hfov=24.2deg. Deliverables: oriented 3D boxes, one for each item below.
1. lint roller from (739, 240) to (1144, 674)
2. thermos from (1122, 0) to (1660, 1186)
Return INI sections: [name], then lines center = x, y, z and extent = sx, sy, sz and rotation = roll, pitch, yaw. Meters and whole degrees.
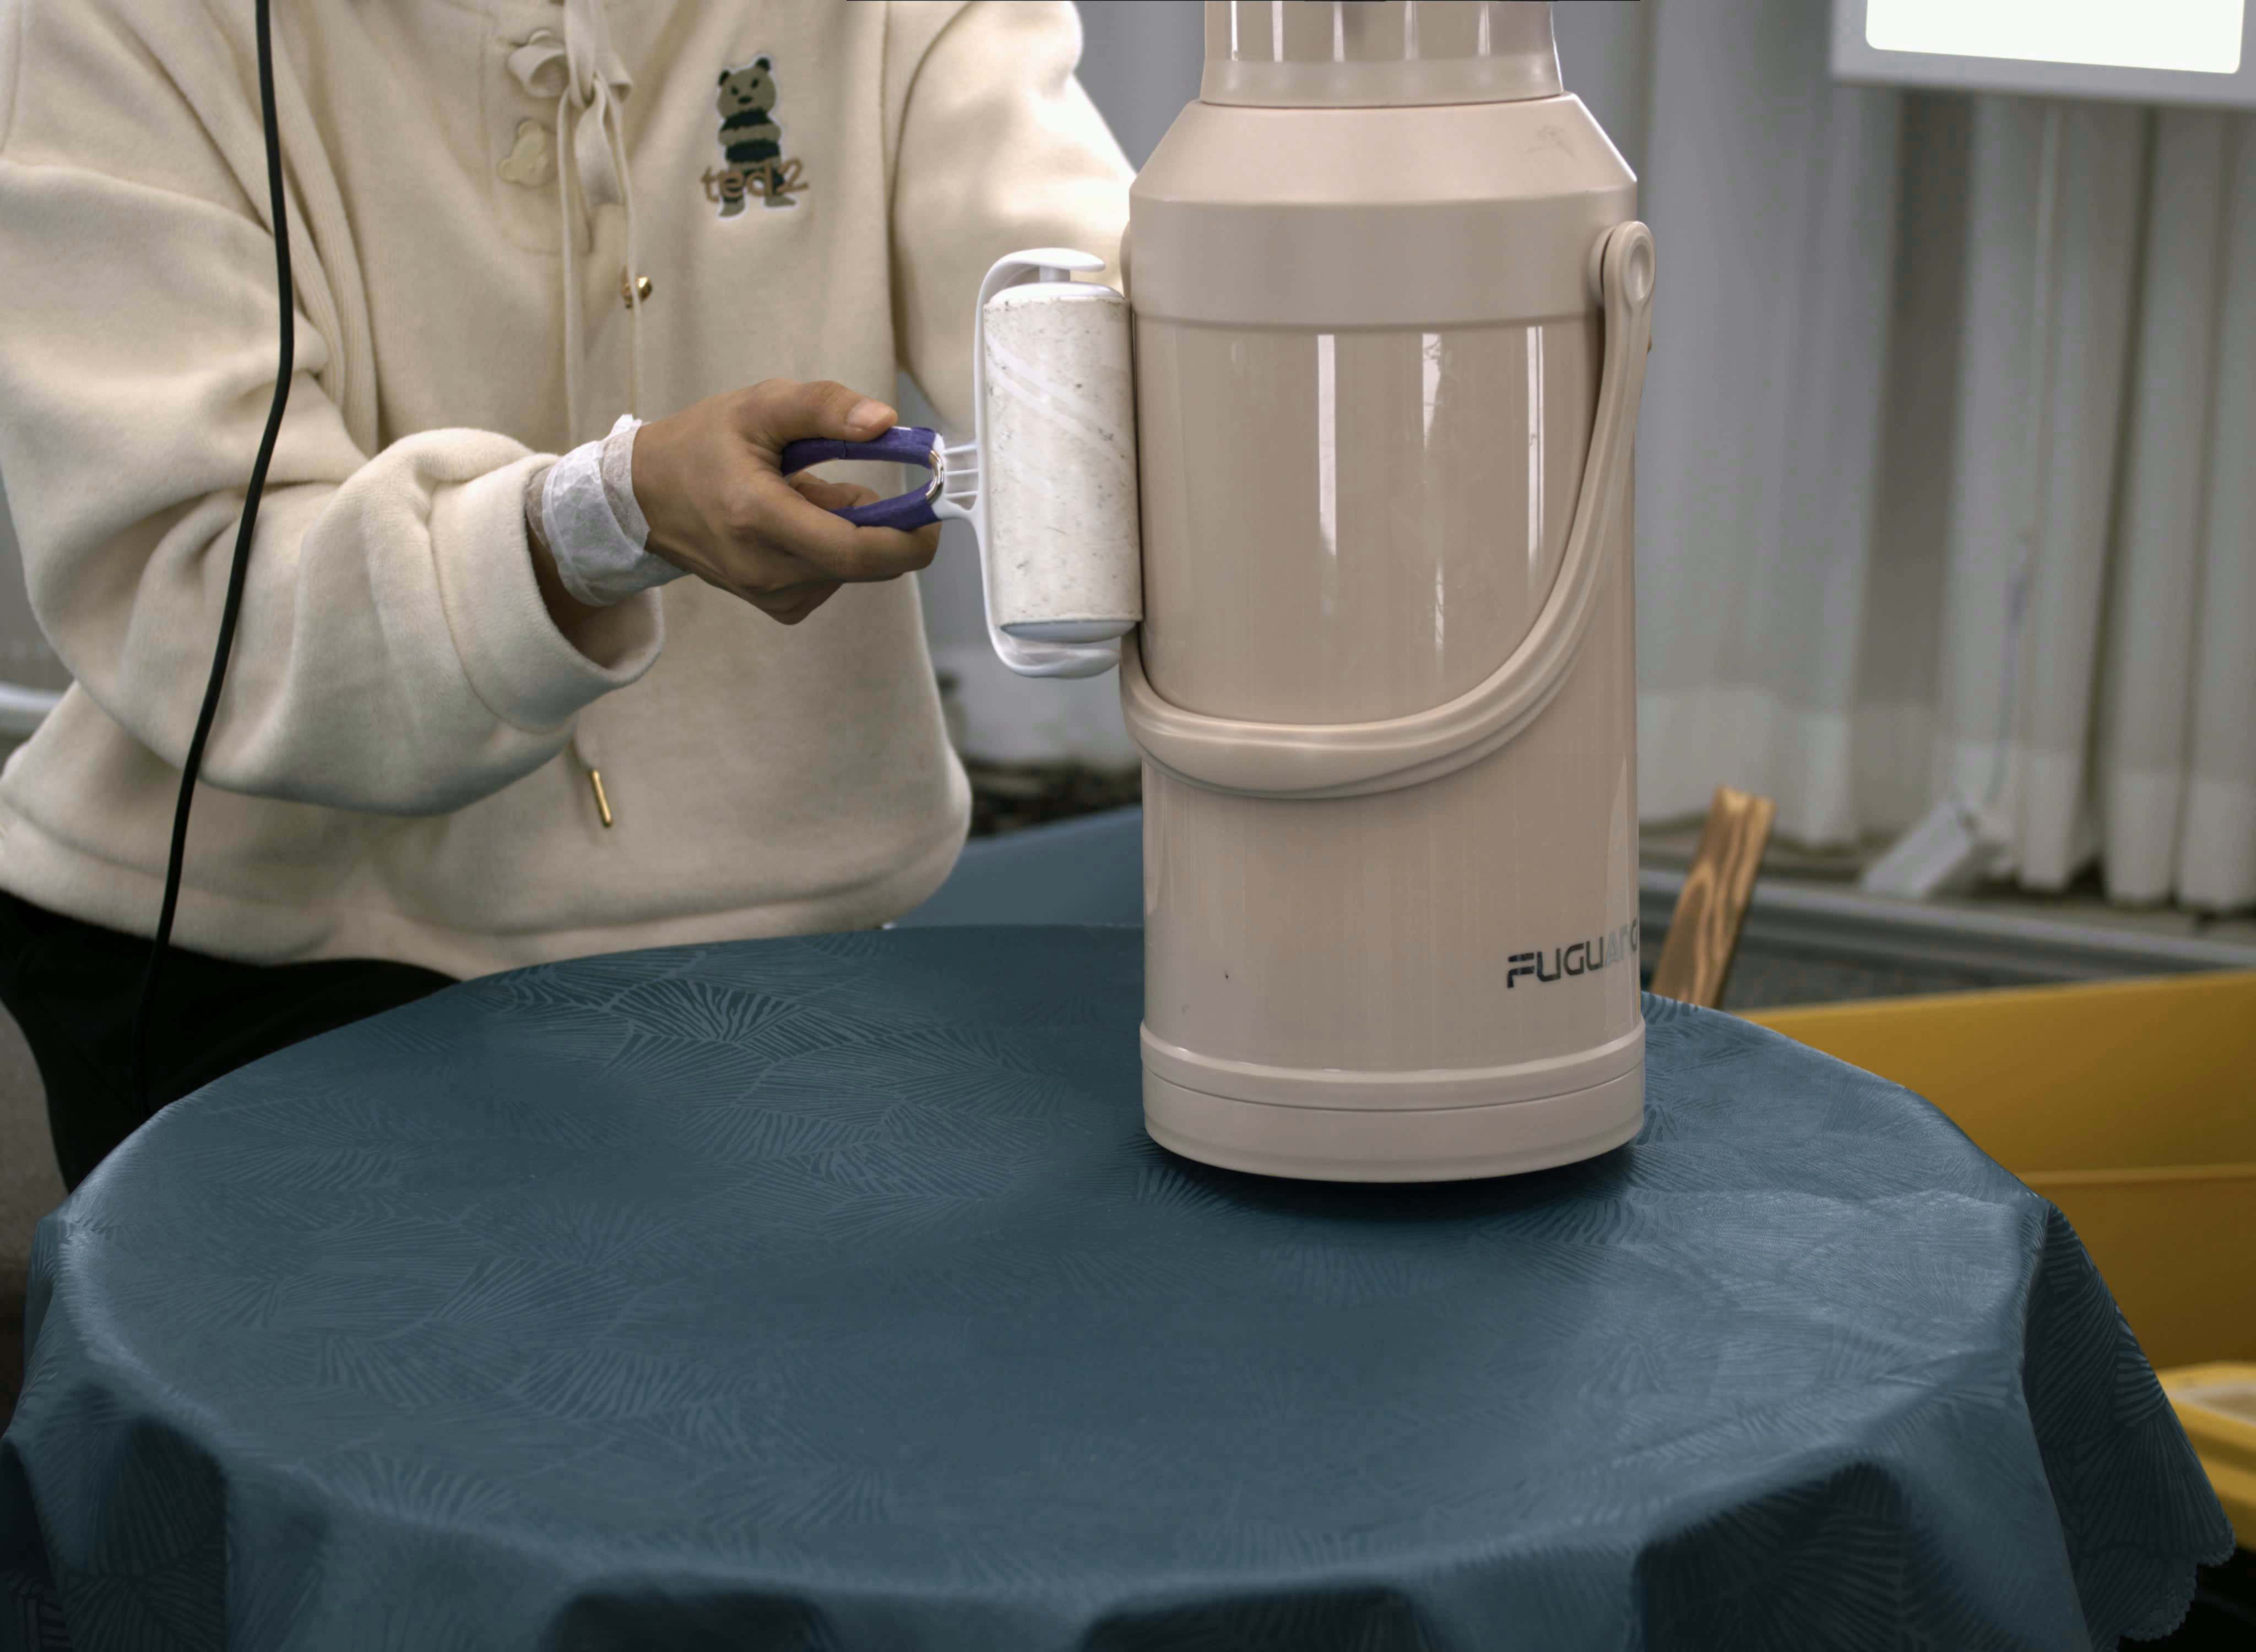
[lint roller]
center = -0.069, -0.114, 1.659
extent = 0.179, 0.133, 0.050
rotation = 1, 3, 39
[thermos]
center = 0.090, -0.103, 1.637
extent = 0.173, 0.409, 0.208
rotation = 5, 12, 31
